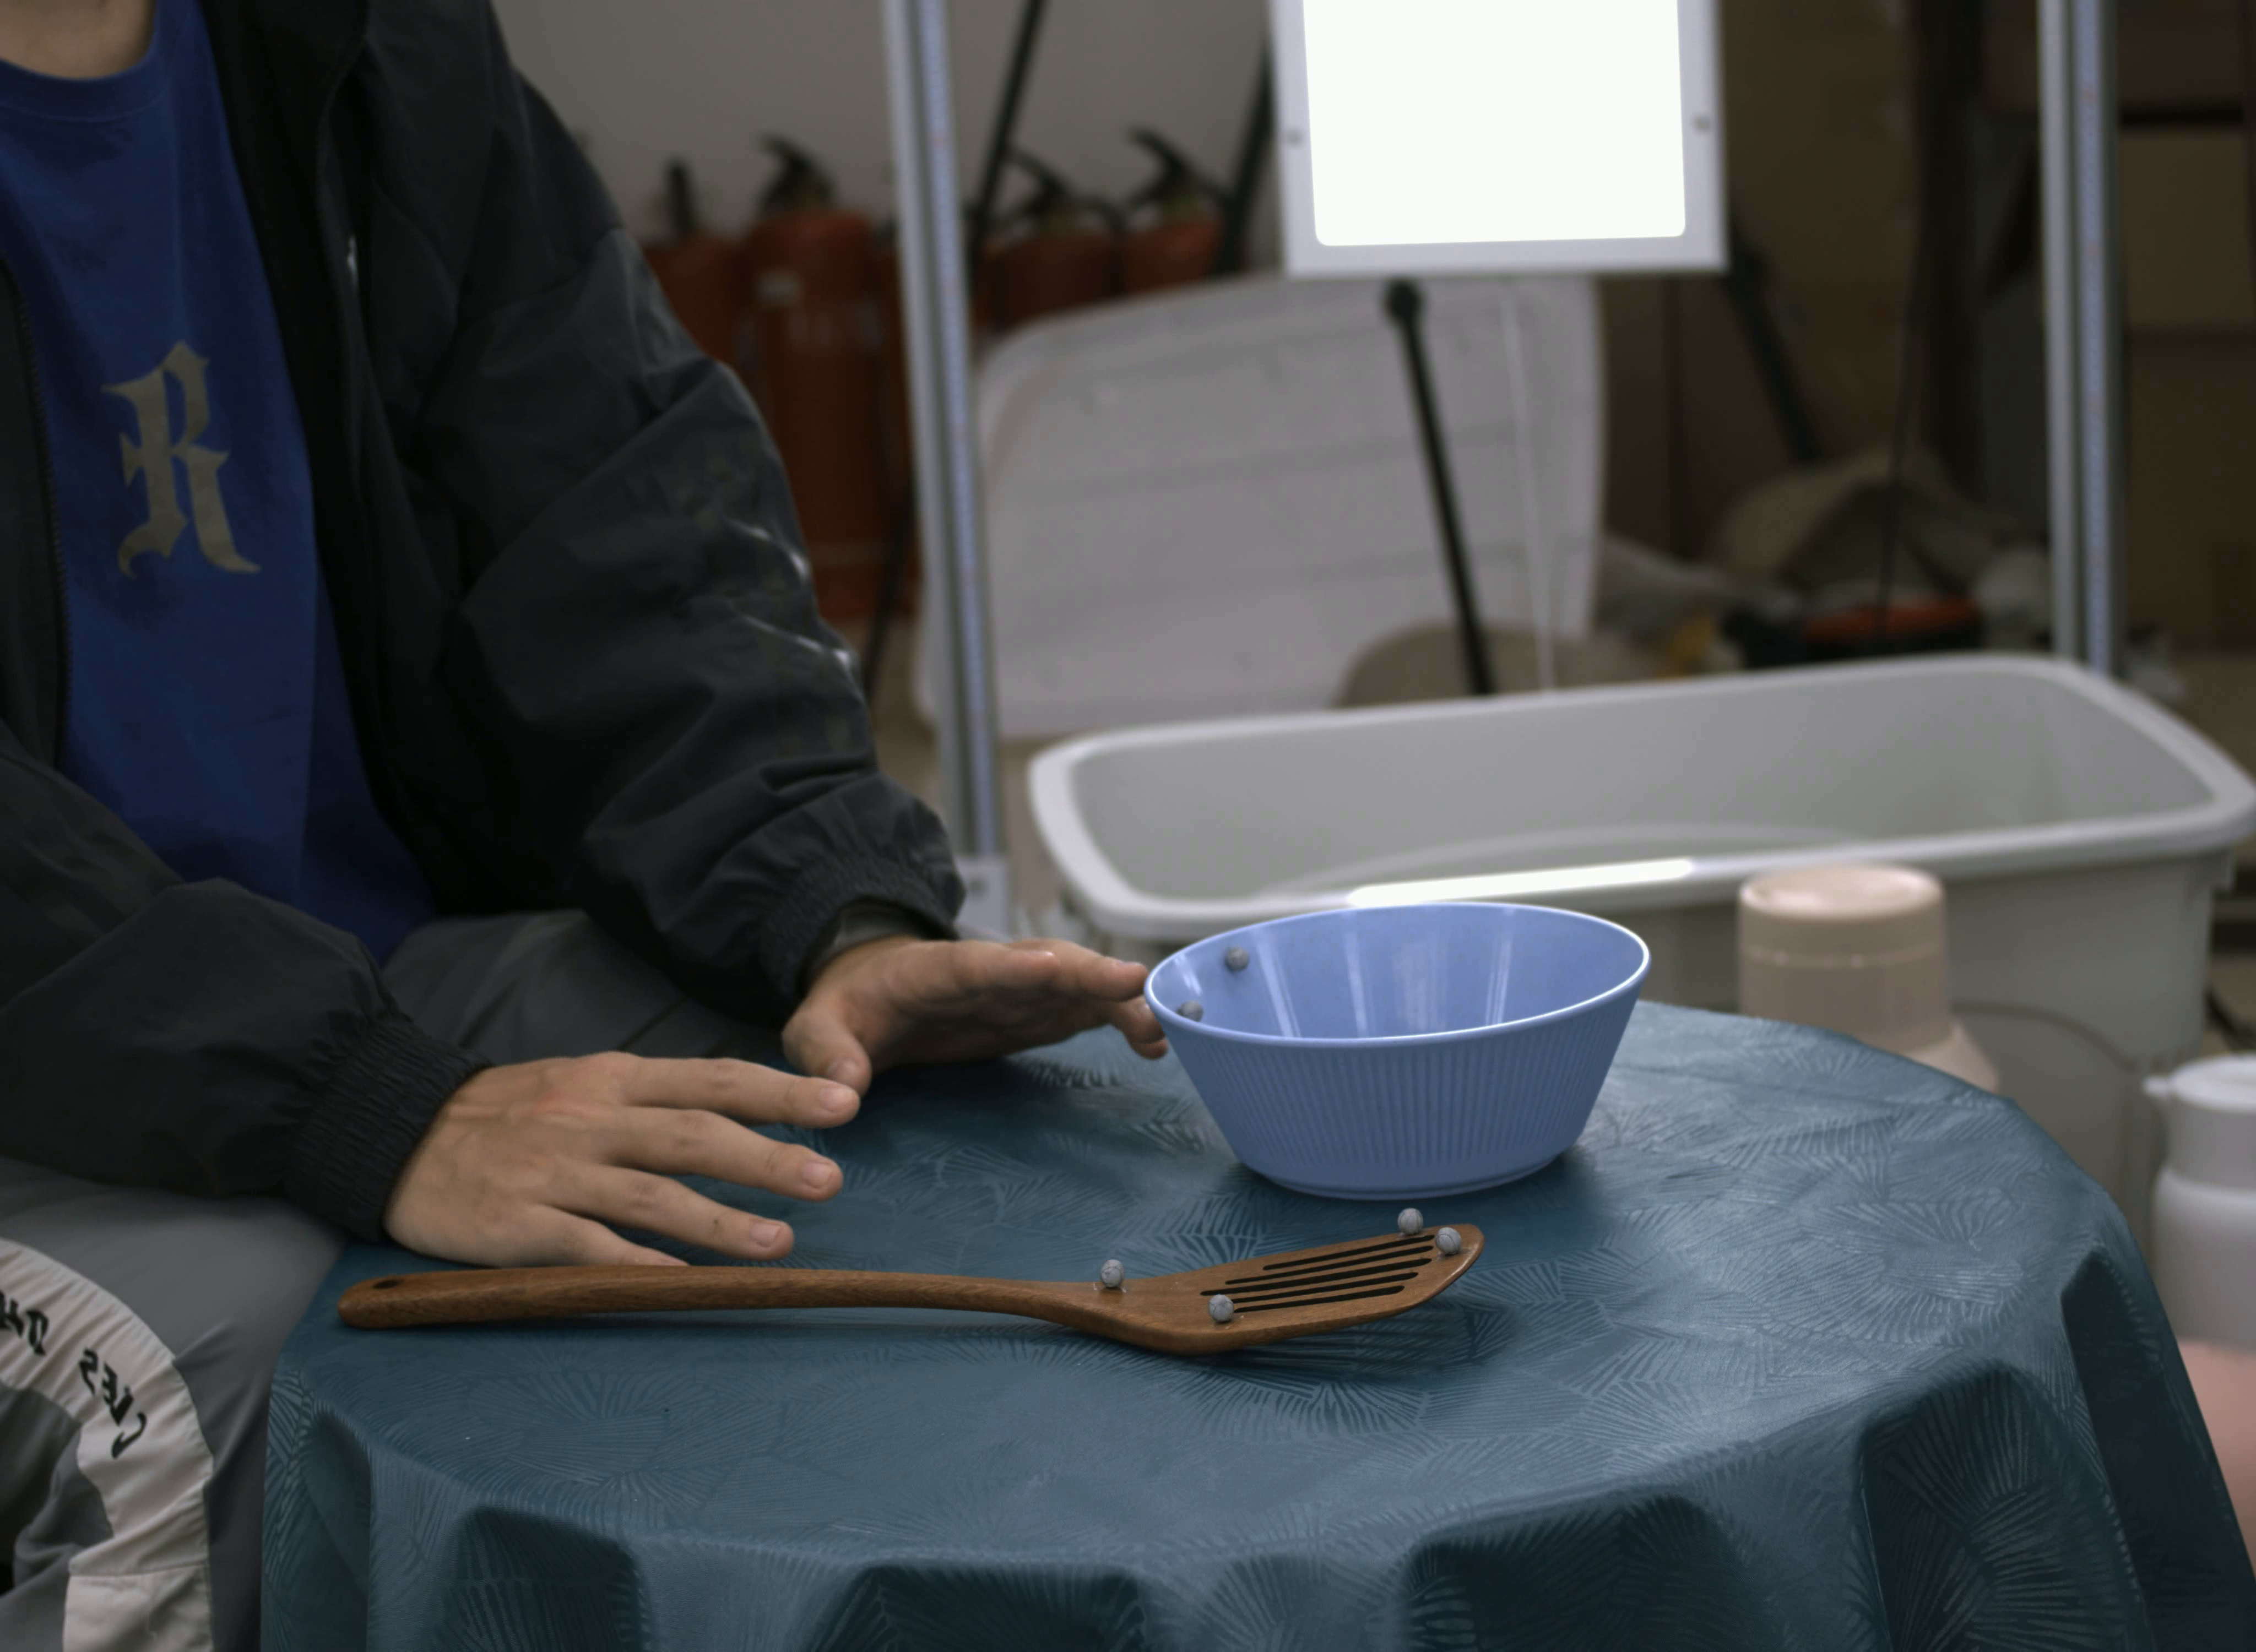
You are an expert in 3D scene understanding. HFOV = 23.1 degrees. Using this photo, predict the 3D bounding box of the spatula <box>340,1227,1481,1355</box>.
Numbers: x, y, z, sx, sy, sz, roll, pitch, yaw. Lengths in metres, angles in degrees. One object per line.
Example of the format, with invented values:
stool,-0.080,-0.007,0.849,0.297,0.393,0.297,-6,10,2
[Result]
spatula,-0.076,0.152,1.779,0.391,0.024,0.084,-2,13,19

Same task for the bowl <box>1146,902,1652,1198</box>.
bowl,0.096,0.080,1.903,0.175,0.070,0.176,-6,13,0
